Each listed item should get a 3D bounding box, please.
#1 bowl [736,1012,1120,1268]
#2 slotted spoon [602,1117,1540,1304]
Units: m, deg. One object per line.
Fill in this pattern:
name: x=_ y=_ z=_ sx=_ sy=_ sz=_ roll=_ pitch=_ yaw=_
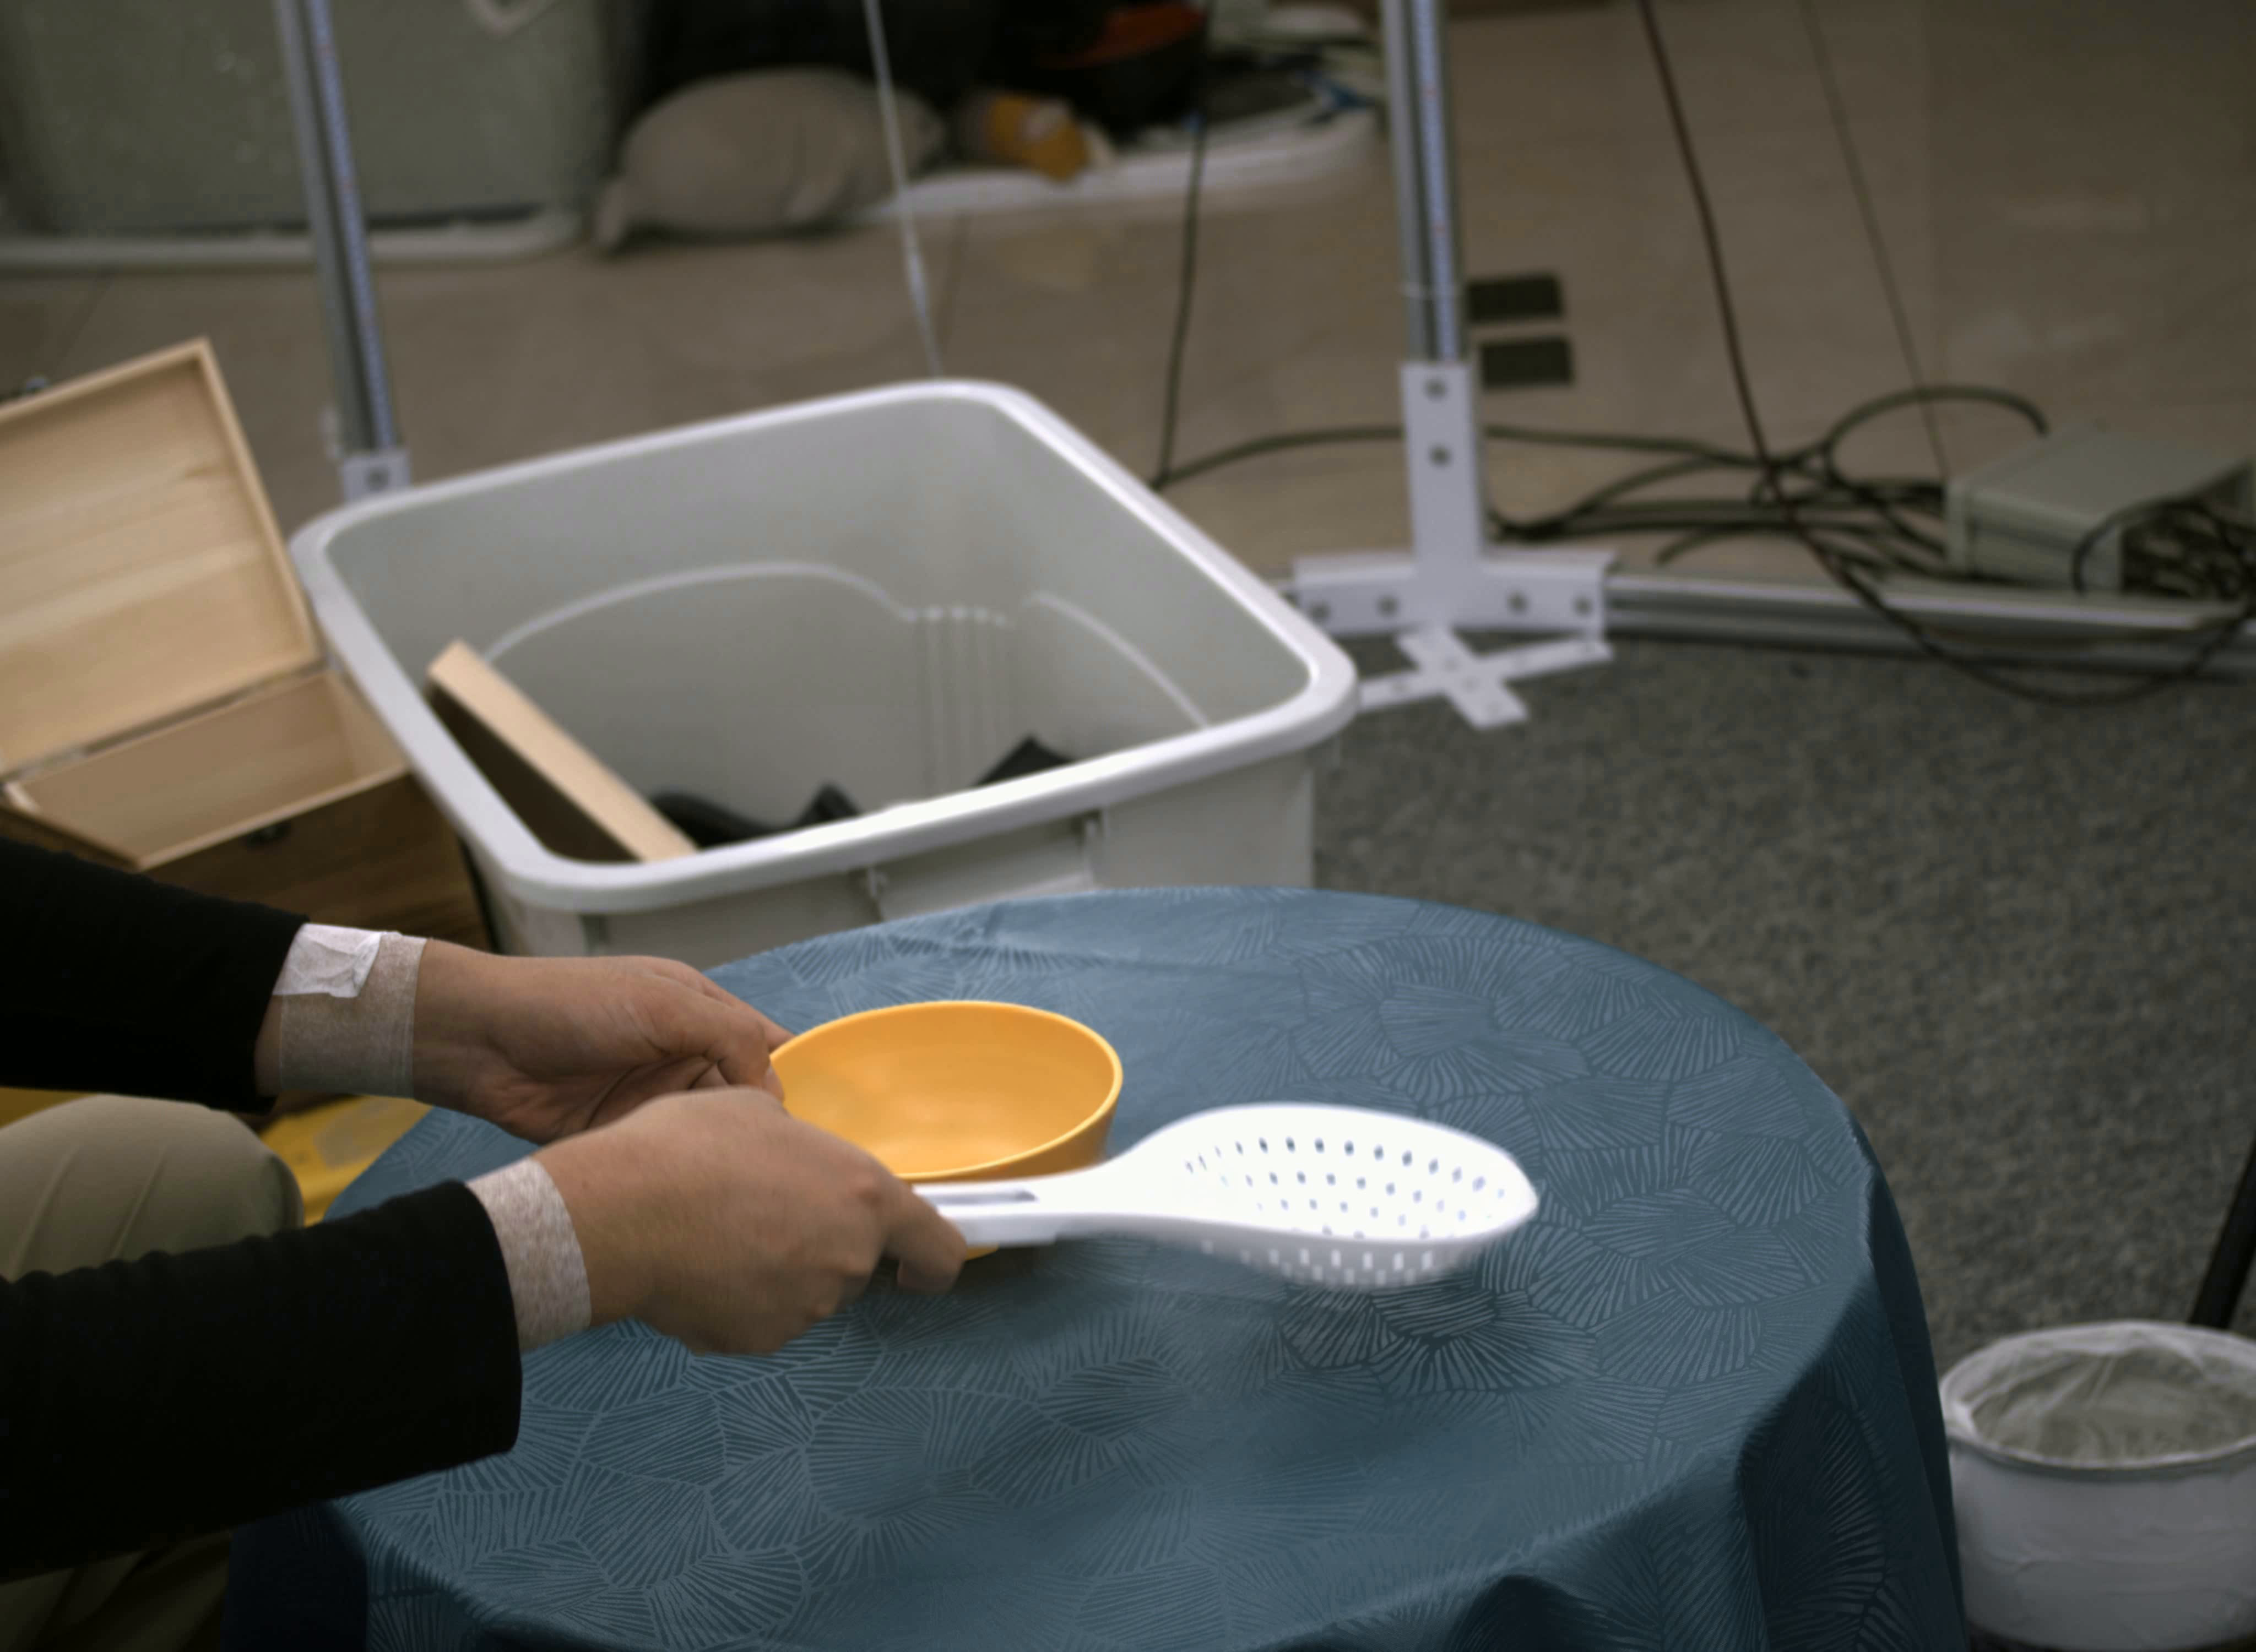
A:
bowl: x=-0.074 y=0.125 z=2.127 sx=0.145 sy=0.061 sz=0.143 roll=-3 pitch=23 yaw=1
slotted spoon: x=-0.017 y=0.135 z=1.962 sx=0.350 sy=0.046 sz=0.134 roll=4 pitch=16 yaw=-29
